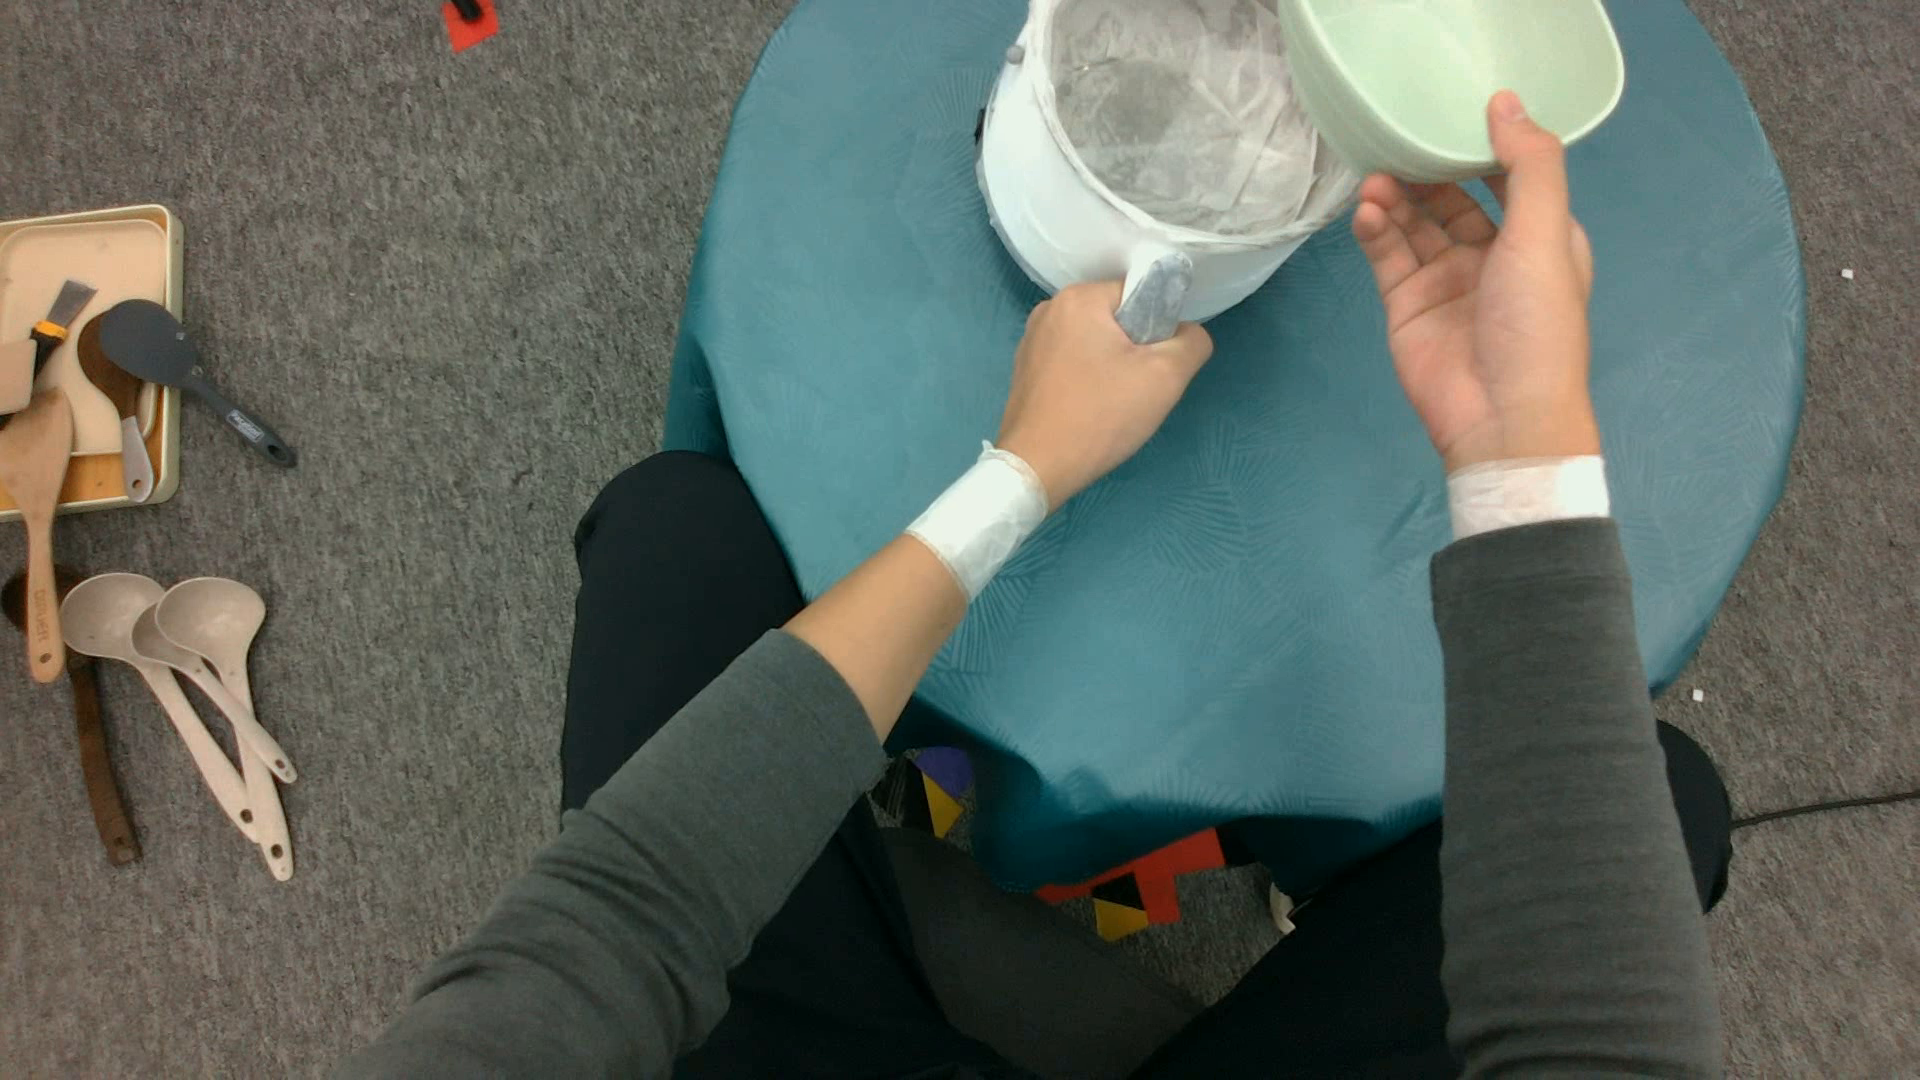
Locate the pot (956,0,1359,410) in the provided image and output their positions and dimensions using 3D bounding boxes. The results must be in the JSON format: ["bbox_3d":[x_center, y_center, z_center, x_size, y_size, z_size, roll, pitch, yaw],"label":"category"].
[{"bbox_3d":[0.090,-0.184,0.680,0.179,0.136,0.234,13,77,-9],"label":"pot"}]

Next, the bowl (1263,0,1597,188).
[{"bbox_3d":[0.188,-0.204,0.586,0.151,0.058,0.152,8,64,-16],"label":"bowl"}]
